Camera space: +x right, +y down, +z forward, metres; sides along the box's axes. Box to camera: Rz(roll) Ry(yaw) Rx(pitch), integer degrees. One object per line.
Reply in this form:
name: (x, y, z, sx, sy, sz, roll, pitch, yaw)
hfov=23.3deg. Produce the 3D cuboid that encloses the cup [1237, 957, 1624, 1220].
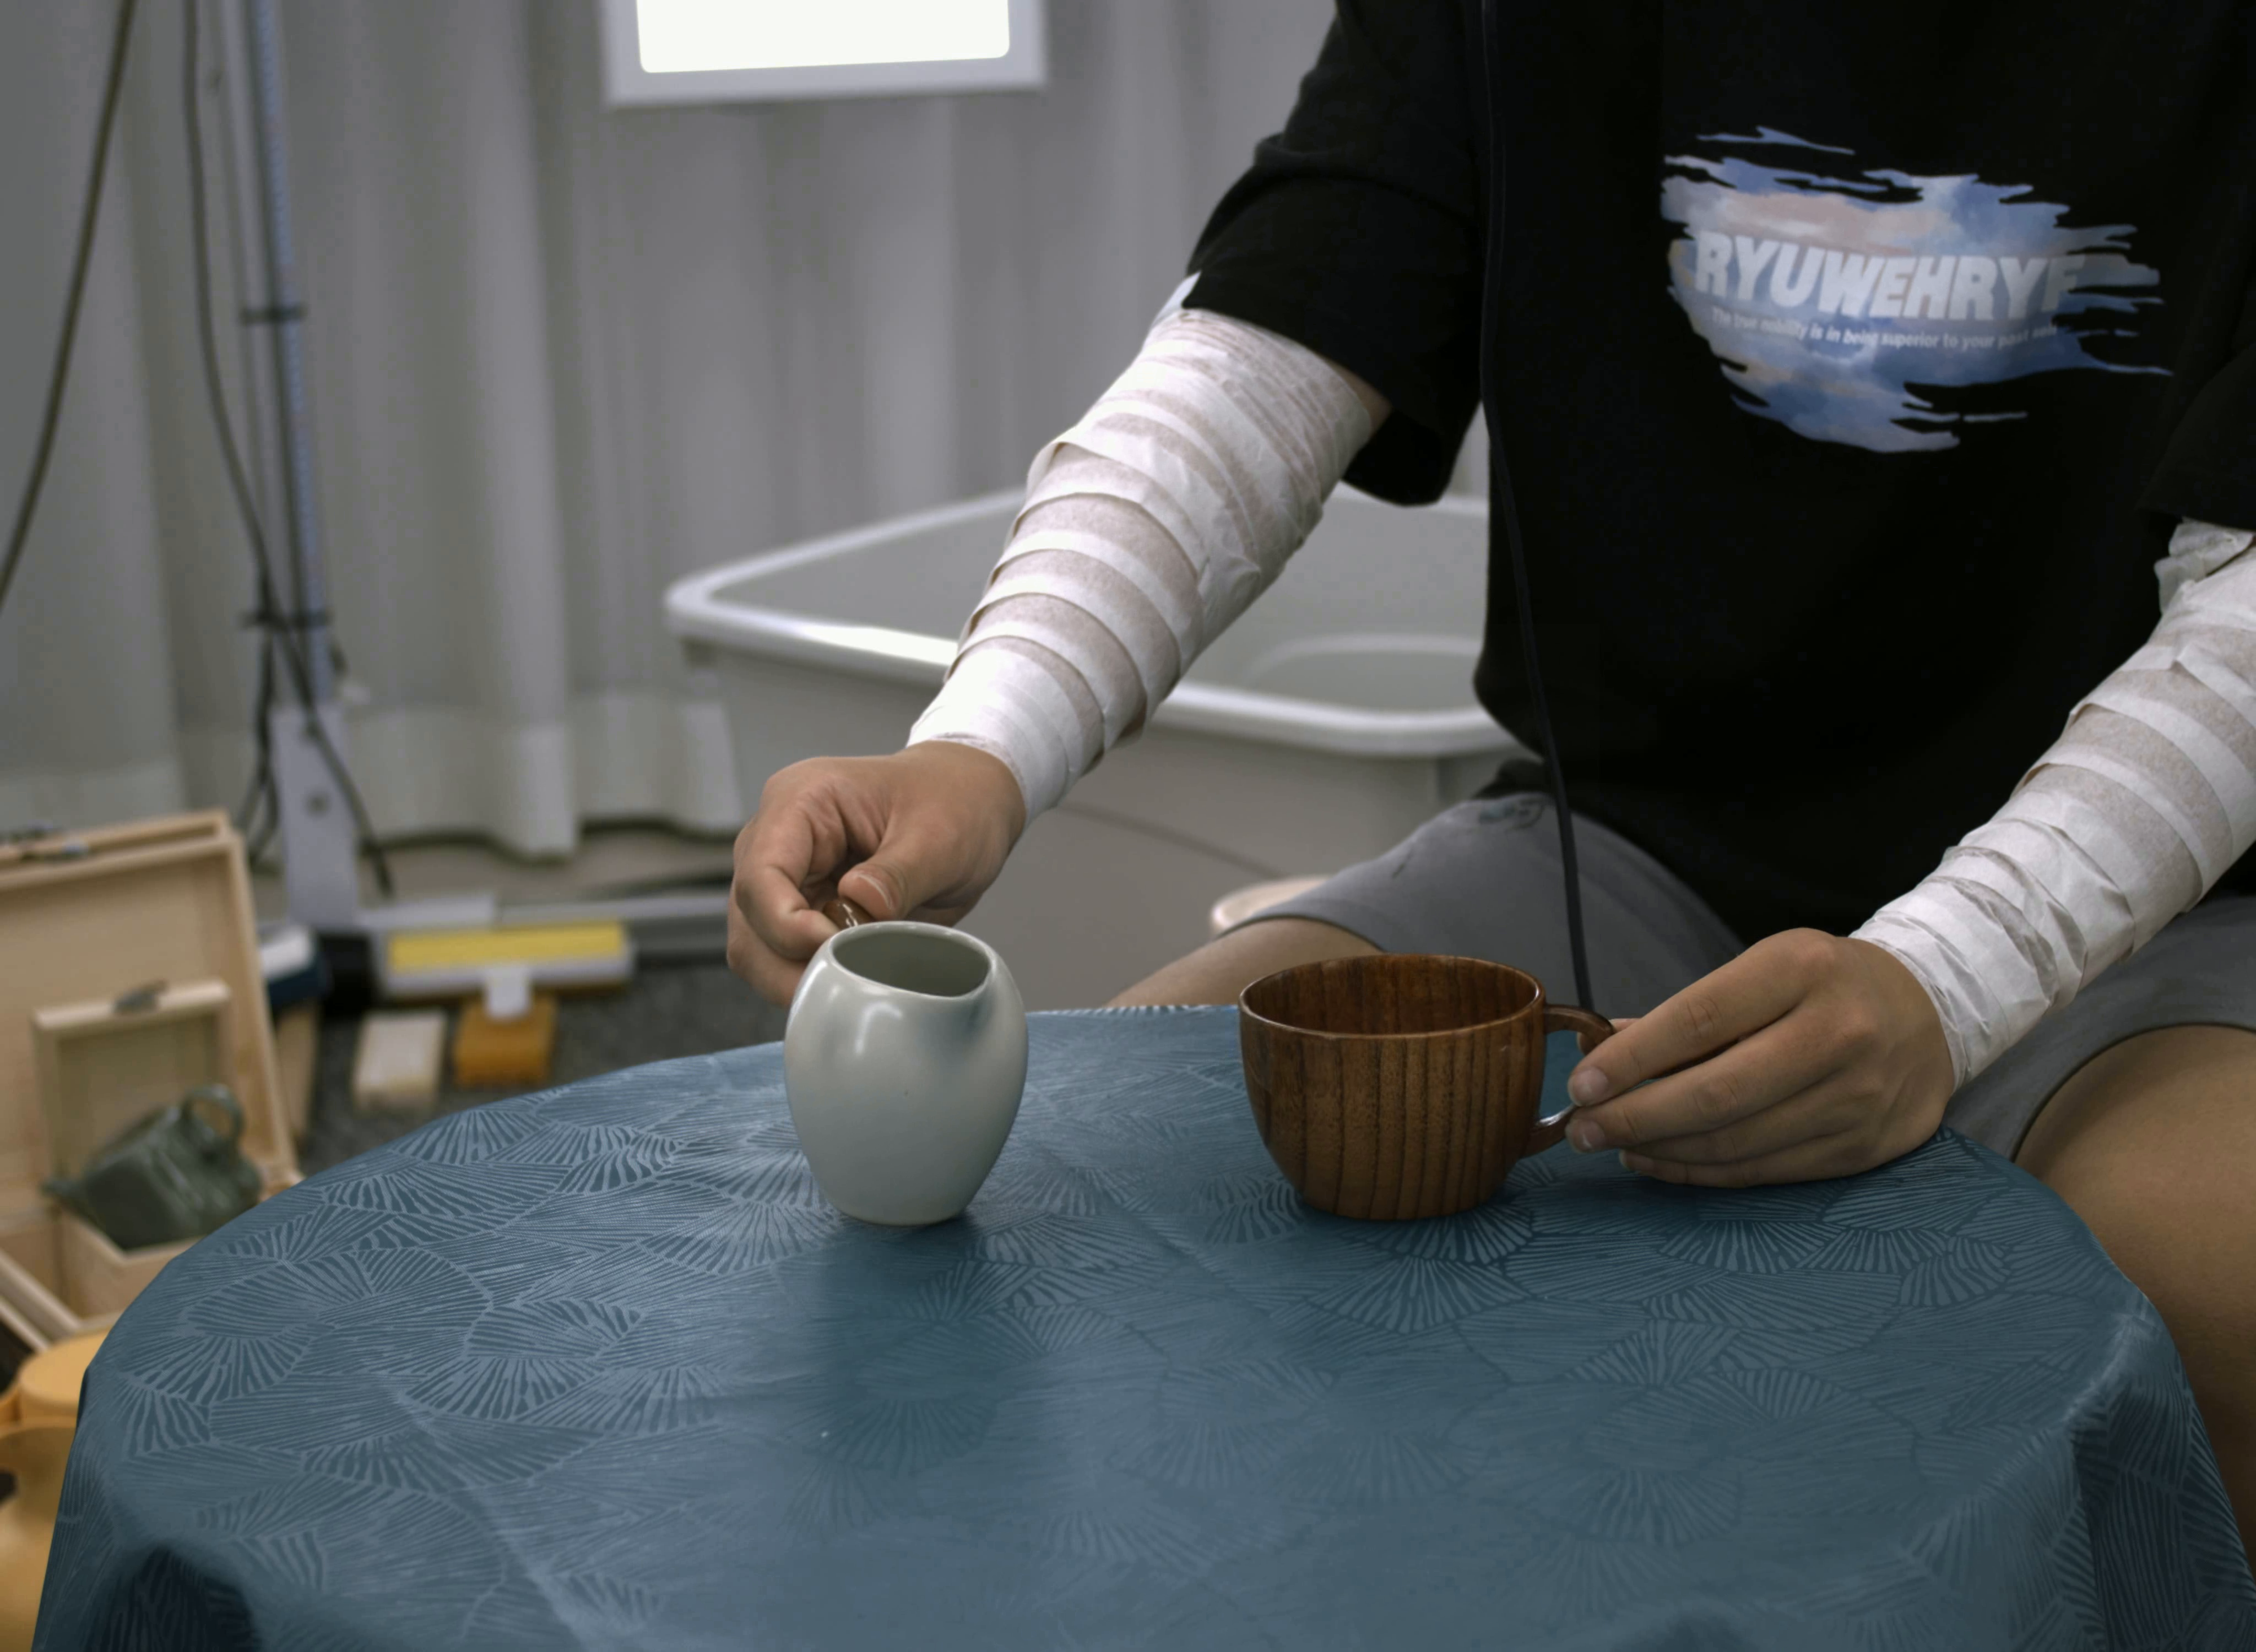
cup: (0.093, 0.083, 1.690, 0.119, 0.067, 0.096, 1, 11, 8)

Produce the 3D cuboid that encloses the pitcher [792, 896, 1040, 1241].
pitcher: (-0.069, 0.076, 1.688, 0.075, 0.087, 0.120, 2, 25, -22)
